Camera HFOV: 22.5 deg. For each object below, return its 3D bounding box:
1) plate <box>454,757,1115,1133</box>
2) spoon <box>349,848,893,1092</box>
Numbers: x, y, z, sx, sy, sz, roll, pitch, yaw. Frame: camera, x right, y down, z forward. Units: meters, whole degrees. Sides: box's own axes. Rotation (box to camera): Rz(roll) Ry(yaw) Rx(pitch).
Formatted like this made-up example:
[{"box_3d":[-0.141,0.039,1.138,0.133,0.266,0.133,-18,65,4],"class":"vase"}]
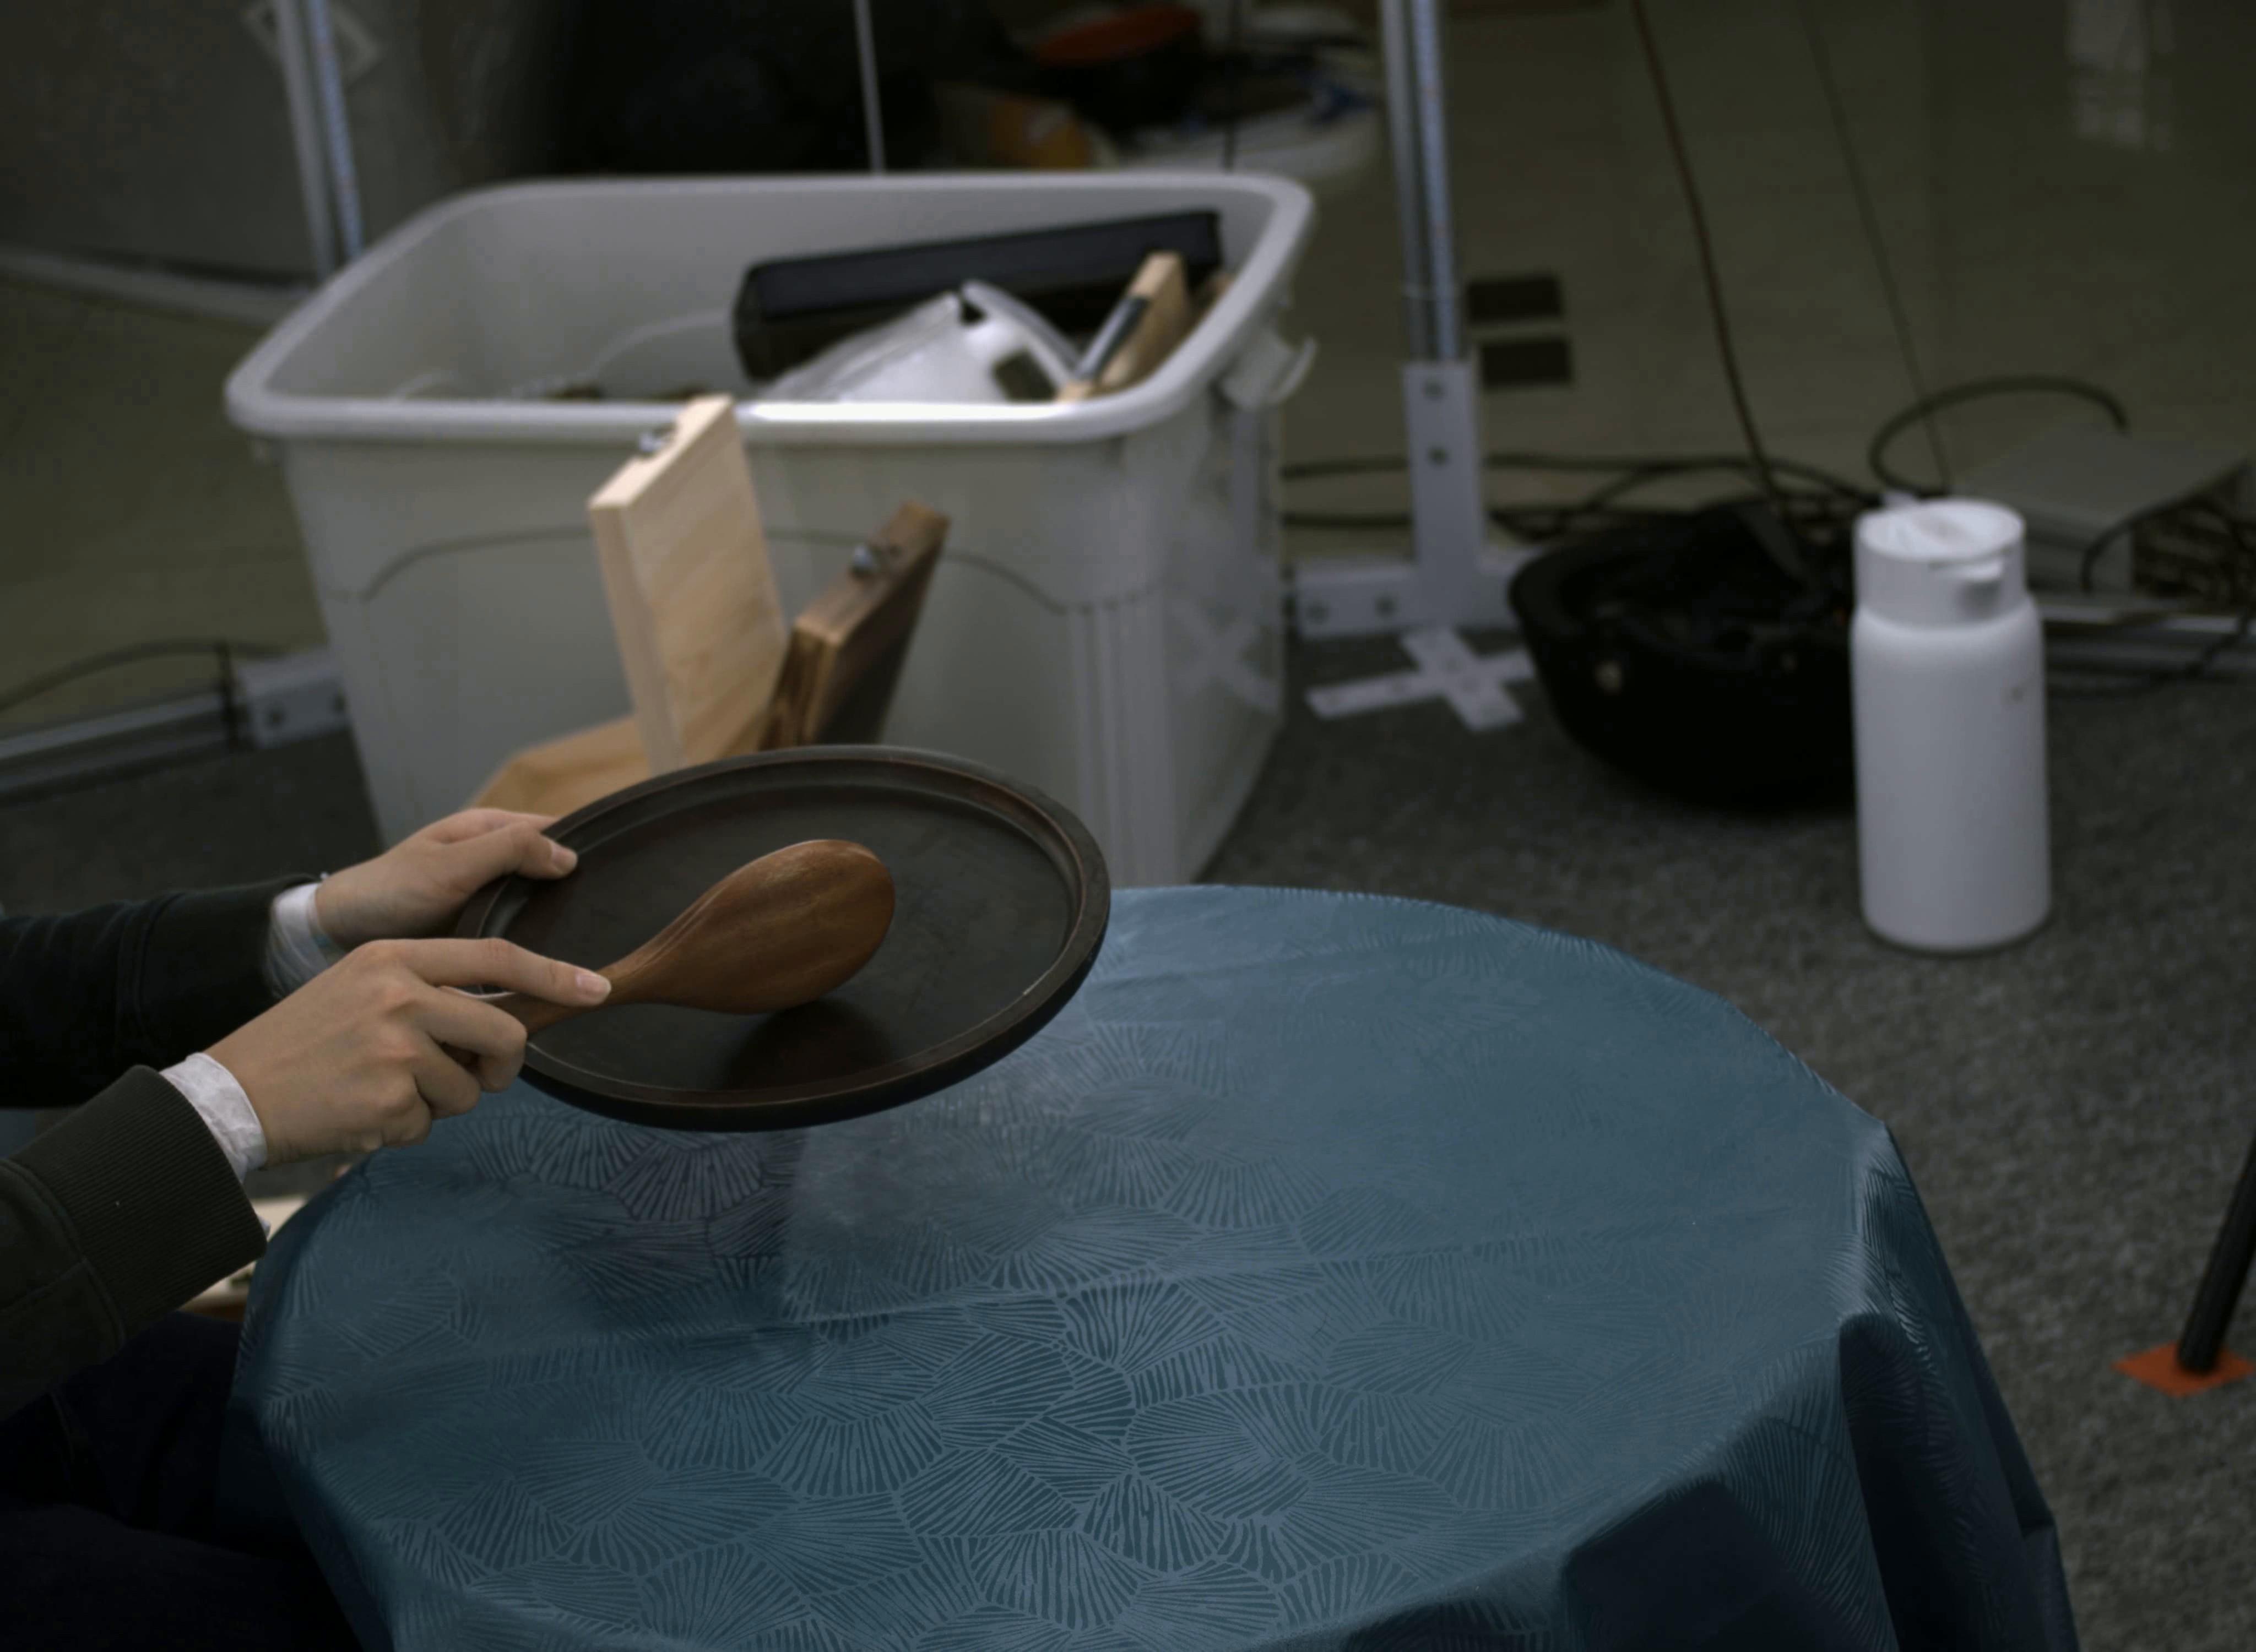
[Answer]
[{"box_3d":[-0.130,0.043,2.158,0.254,0.029,0.250,-3,32,2],"class":"plate"},{"box_3d":[-0.182,0.058,2.068,0.215,0.077,0.017,-16,45,-21],"class":"spoon"}]
